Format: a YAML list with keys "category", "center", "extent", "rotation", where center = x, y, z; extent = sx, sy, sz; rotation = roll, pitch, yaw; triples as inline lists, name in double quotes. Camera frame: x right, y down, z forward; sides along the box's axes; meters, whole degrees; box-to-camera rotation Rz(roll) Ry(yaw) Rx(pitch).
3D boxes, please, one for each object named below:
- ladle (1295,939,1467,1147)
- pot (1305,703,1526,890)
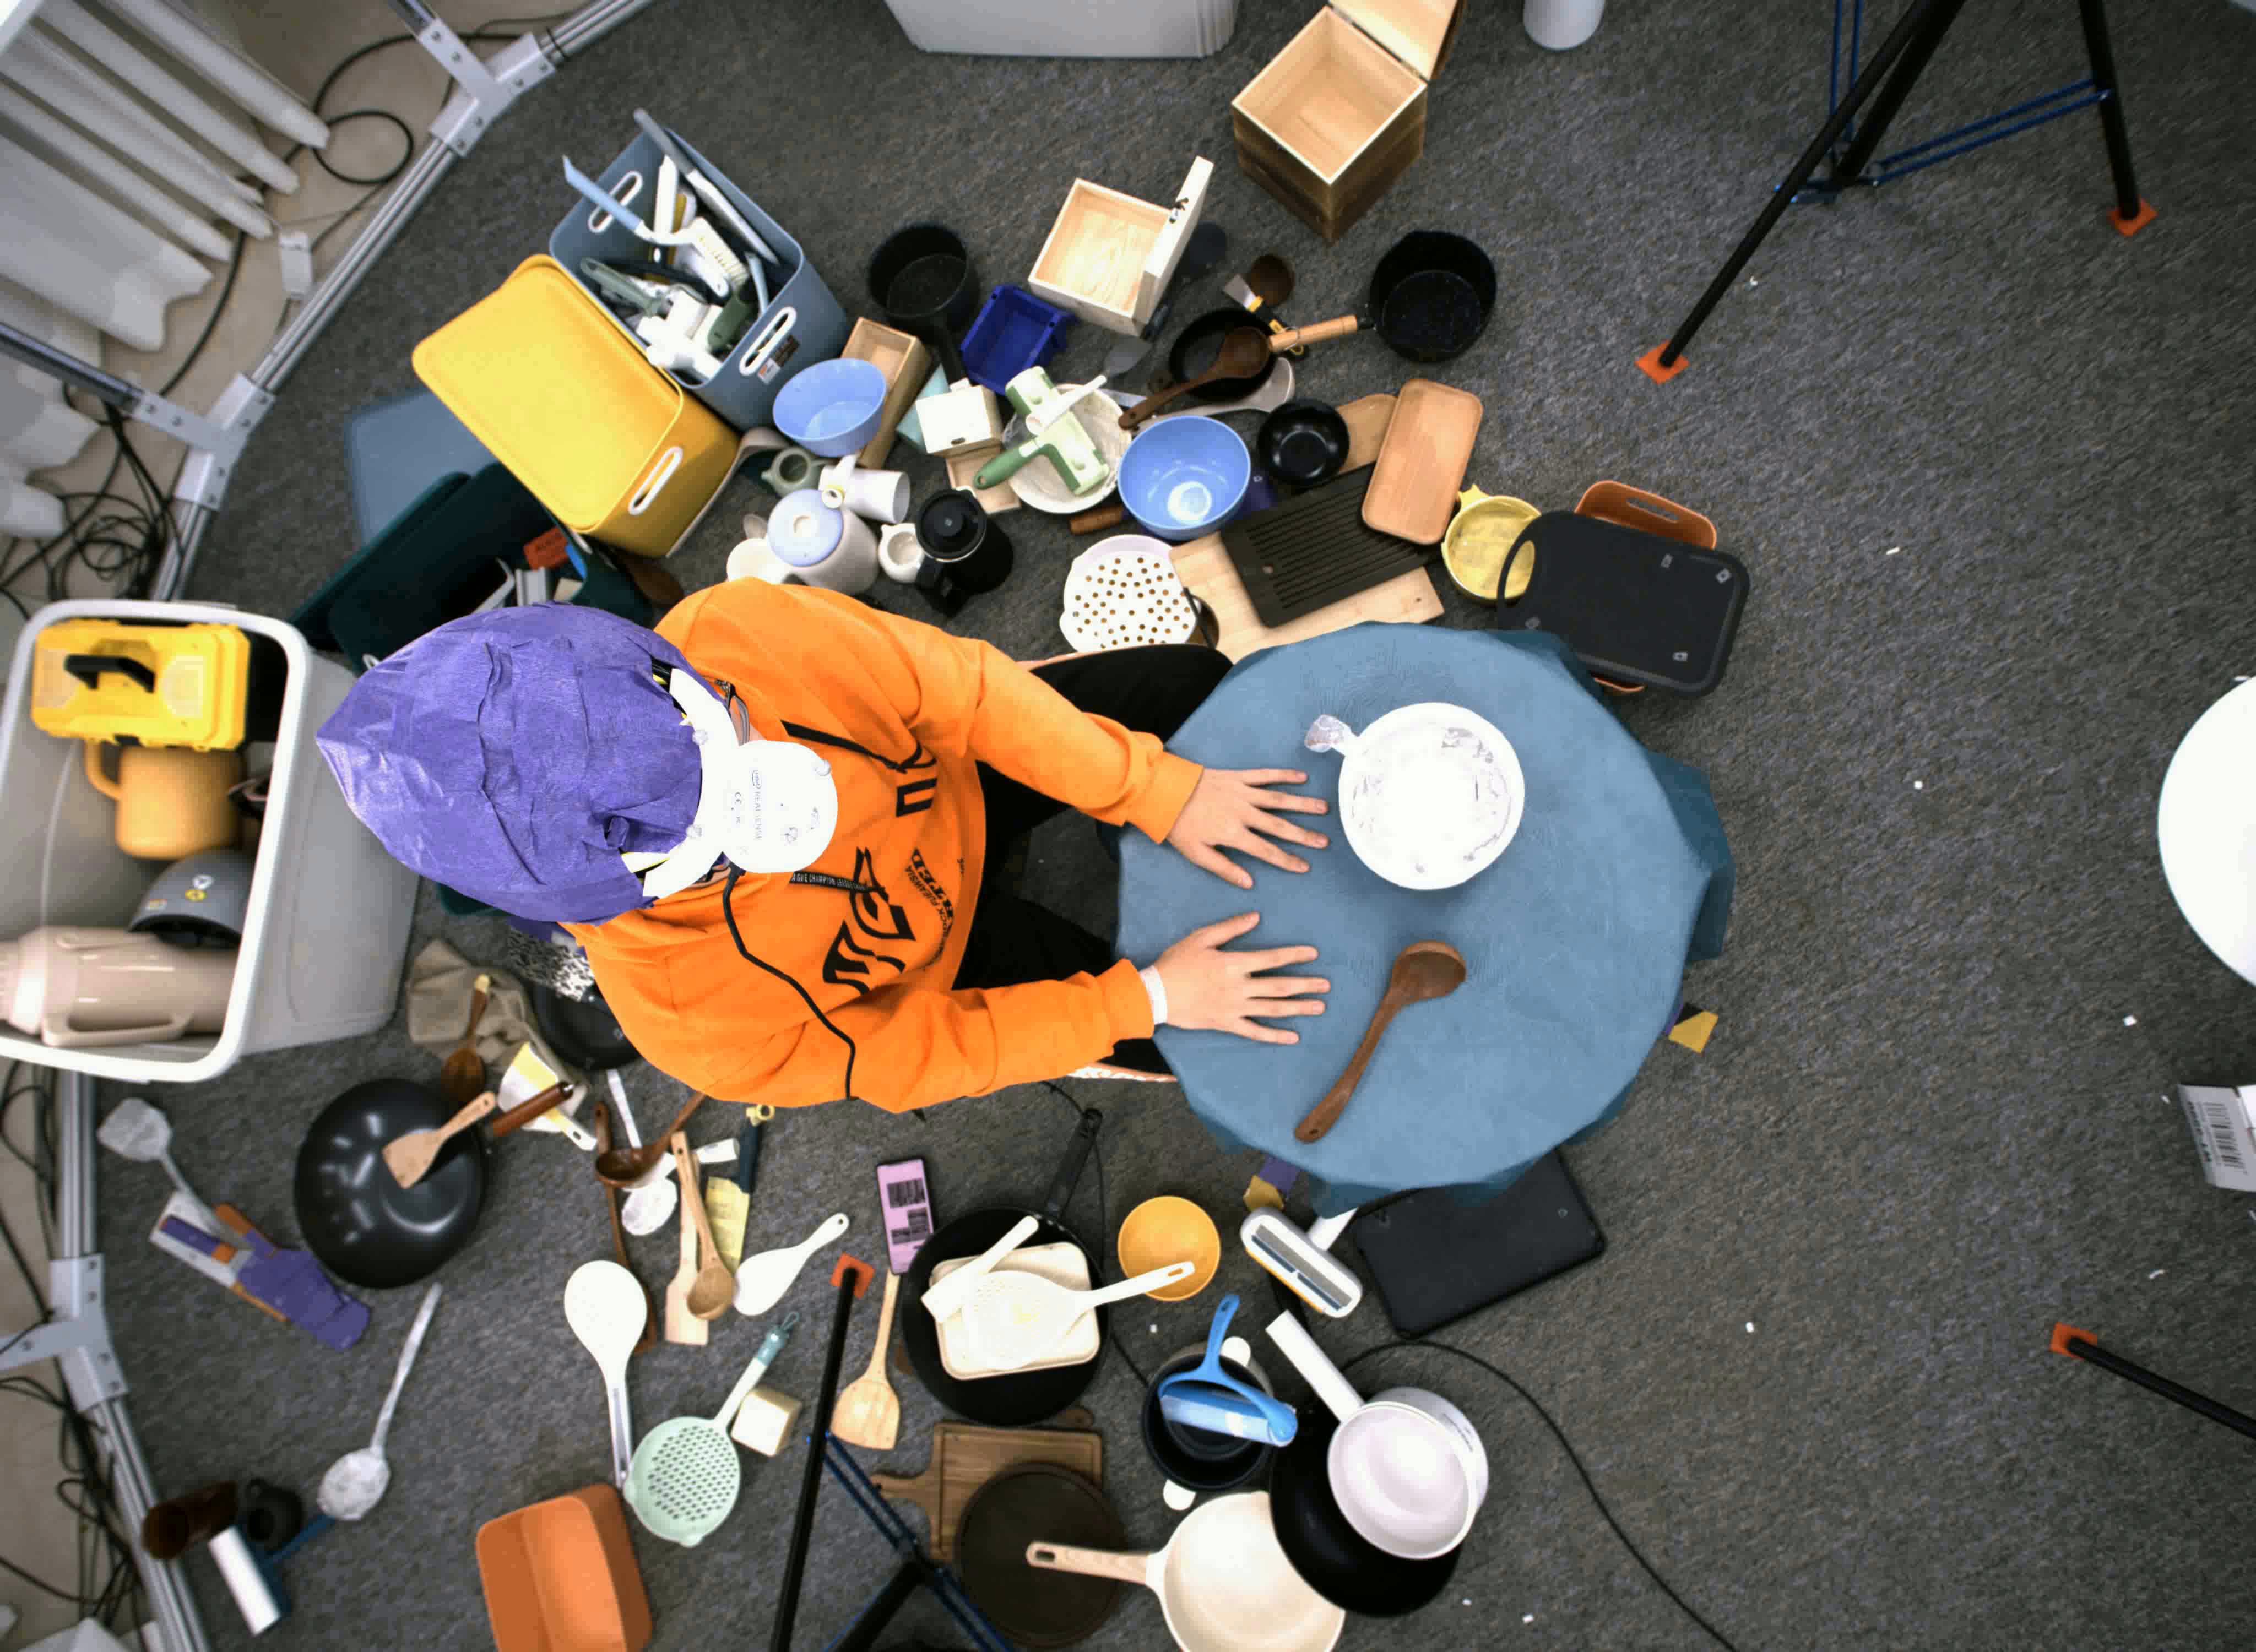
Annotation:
- category: "ladle"
  center: [0.256, 0.227, 1.423]
  extent: [0.077, 0.065, 0.260]
  rotation: [33, 92, -14]
- category: "pot"
  center: [0.280, -0.042, 1.395]
  extent: [0.233, 0.137, 0.179]
  rotation: [33, 92, 11]
